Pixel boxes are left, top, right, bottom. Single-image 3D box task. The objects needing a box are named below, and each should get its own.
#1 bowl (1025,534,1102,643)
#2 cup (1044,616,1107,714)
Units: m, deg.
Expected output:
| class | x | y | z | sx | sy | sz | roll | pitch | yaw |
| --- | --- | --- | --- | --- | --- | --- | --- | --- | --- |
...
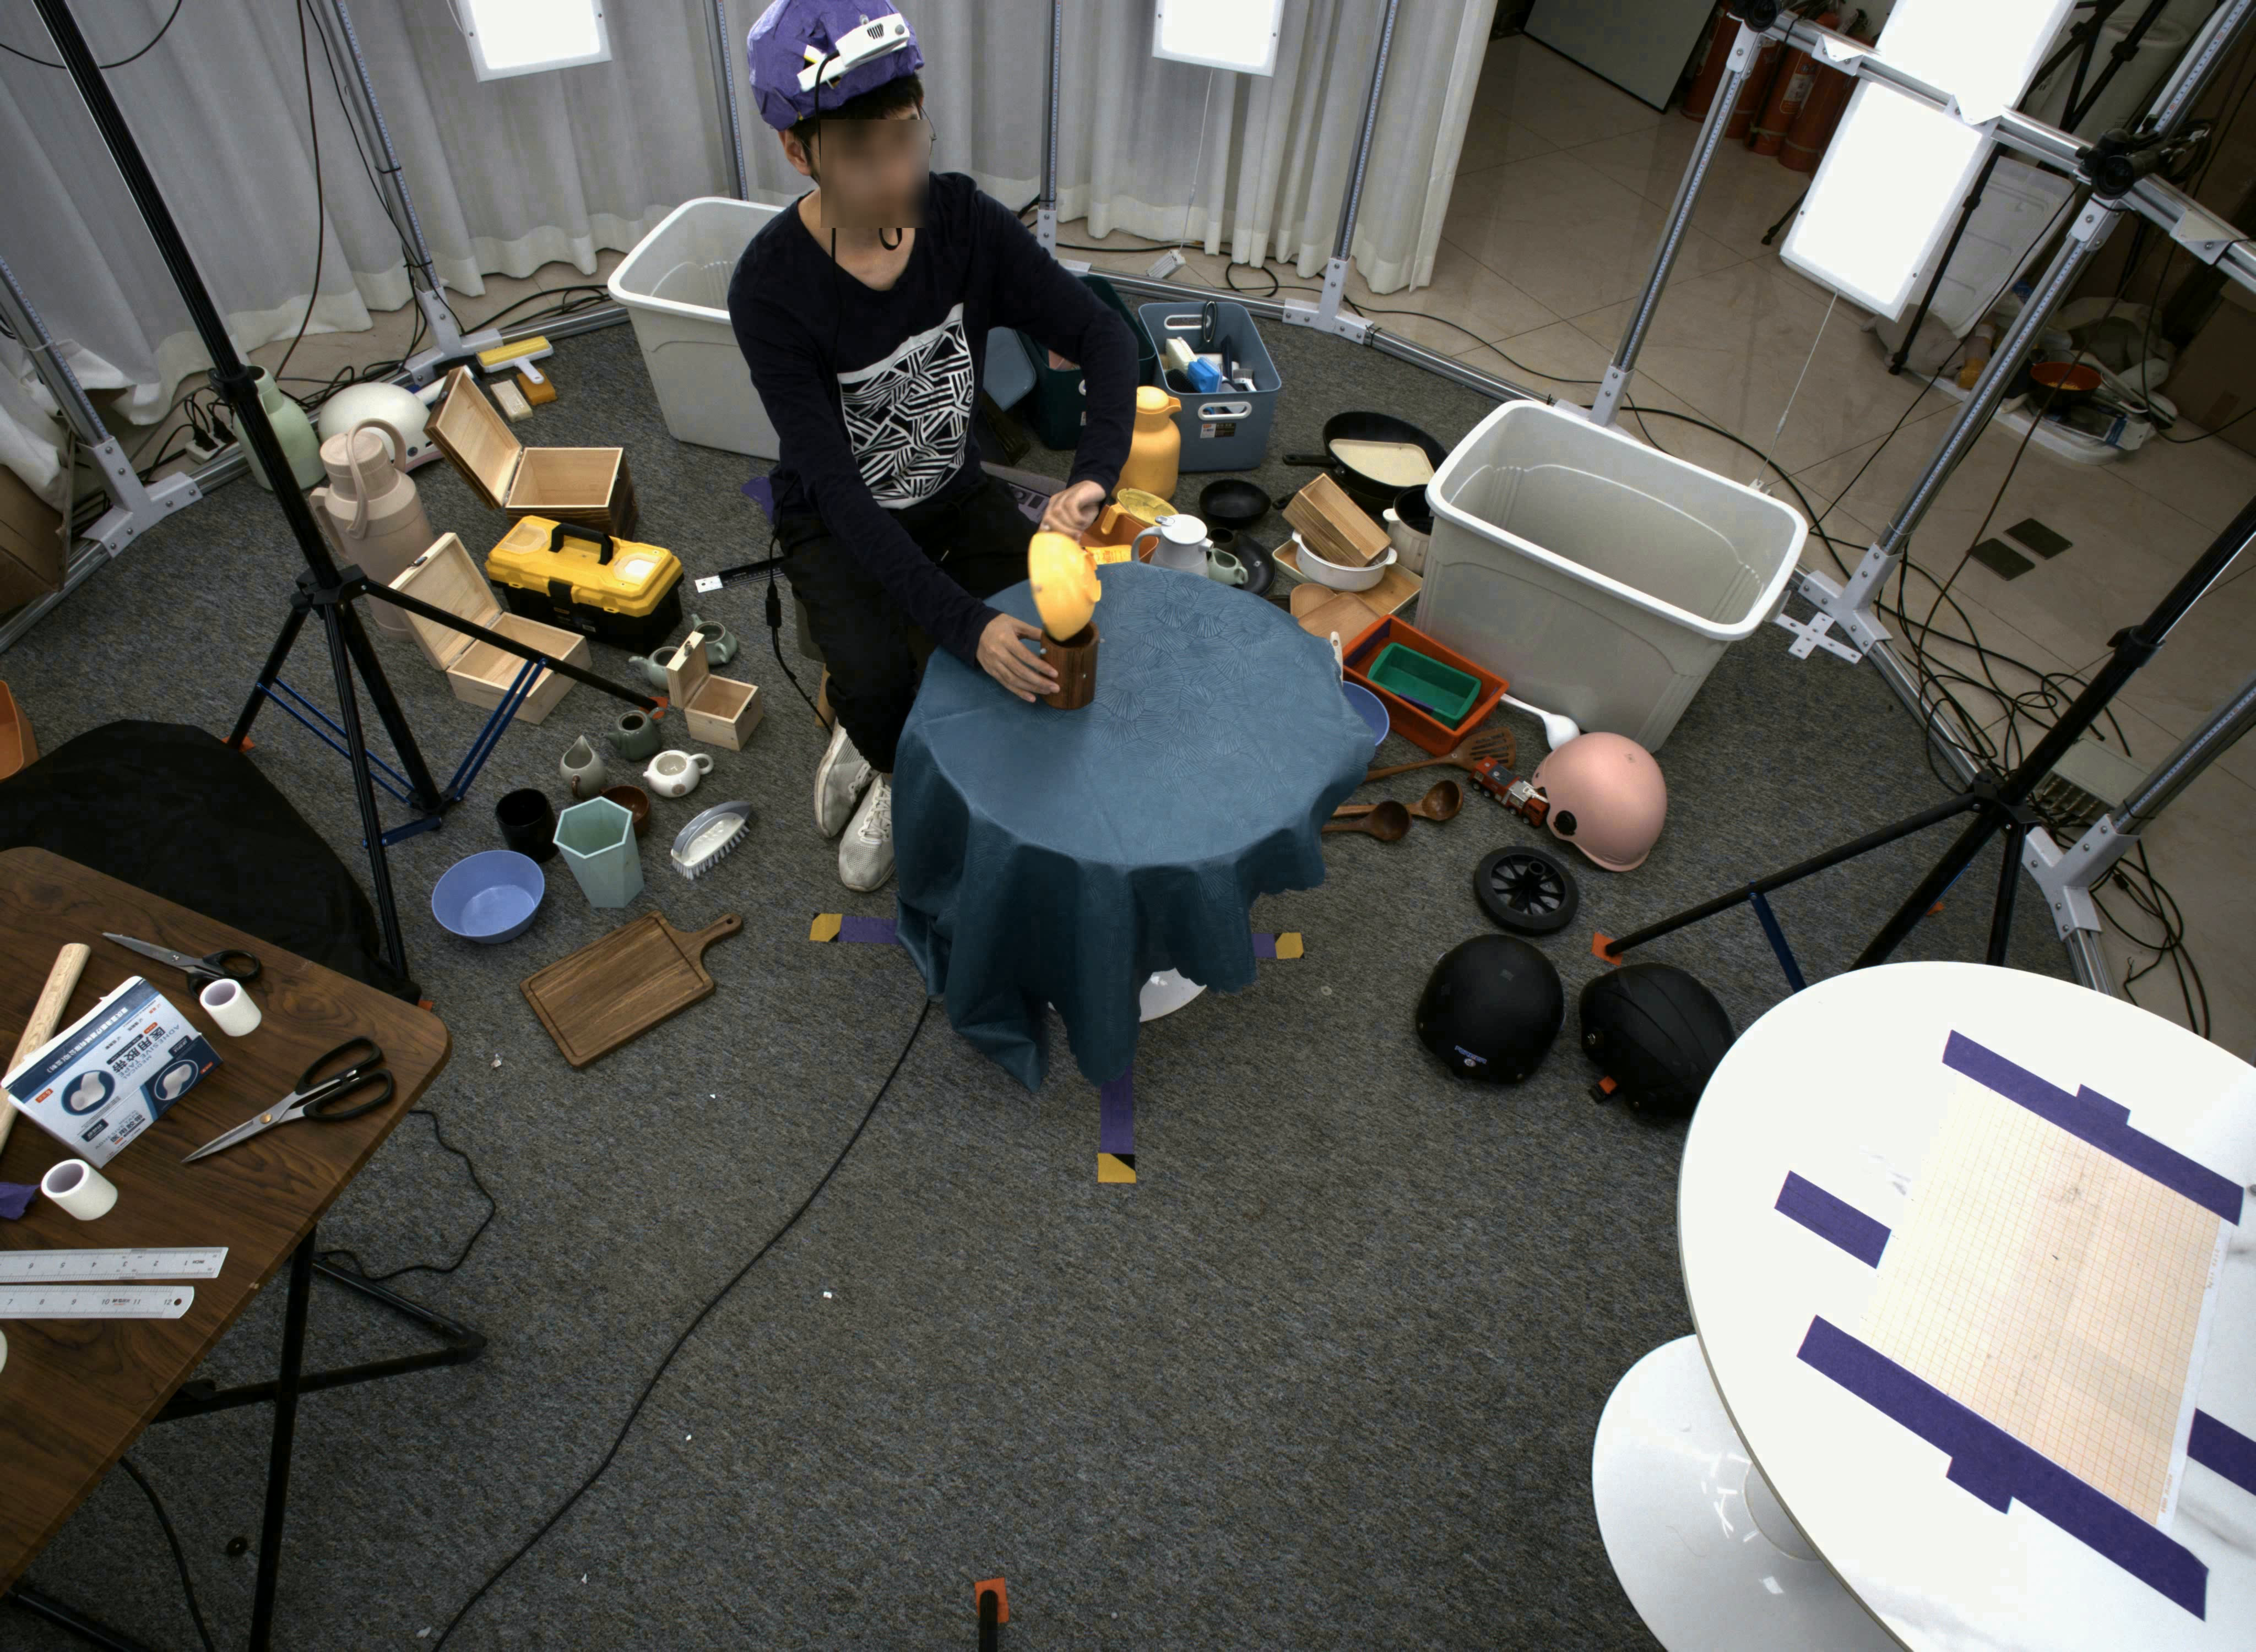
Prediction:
| class | x | y | z | sx | sy | sz | roll | pitch | yaw |
| --- | --- | --- | --- | --- | --- | --- | --- | --- | --- |
| bowl | -0.075 | -0.317 | 1.683 | 0.060 | 0.142 | 0.149 | -11 | 44 | 24 |
| cup | -0.075 | -0.226 | 1.783 | 0.087 | 0.115 | 0.090 | 4 | 46 | -4 |
